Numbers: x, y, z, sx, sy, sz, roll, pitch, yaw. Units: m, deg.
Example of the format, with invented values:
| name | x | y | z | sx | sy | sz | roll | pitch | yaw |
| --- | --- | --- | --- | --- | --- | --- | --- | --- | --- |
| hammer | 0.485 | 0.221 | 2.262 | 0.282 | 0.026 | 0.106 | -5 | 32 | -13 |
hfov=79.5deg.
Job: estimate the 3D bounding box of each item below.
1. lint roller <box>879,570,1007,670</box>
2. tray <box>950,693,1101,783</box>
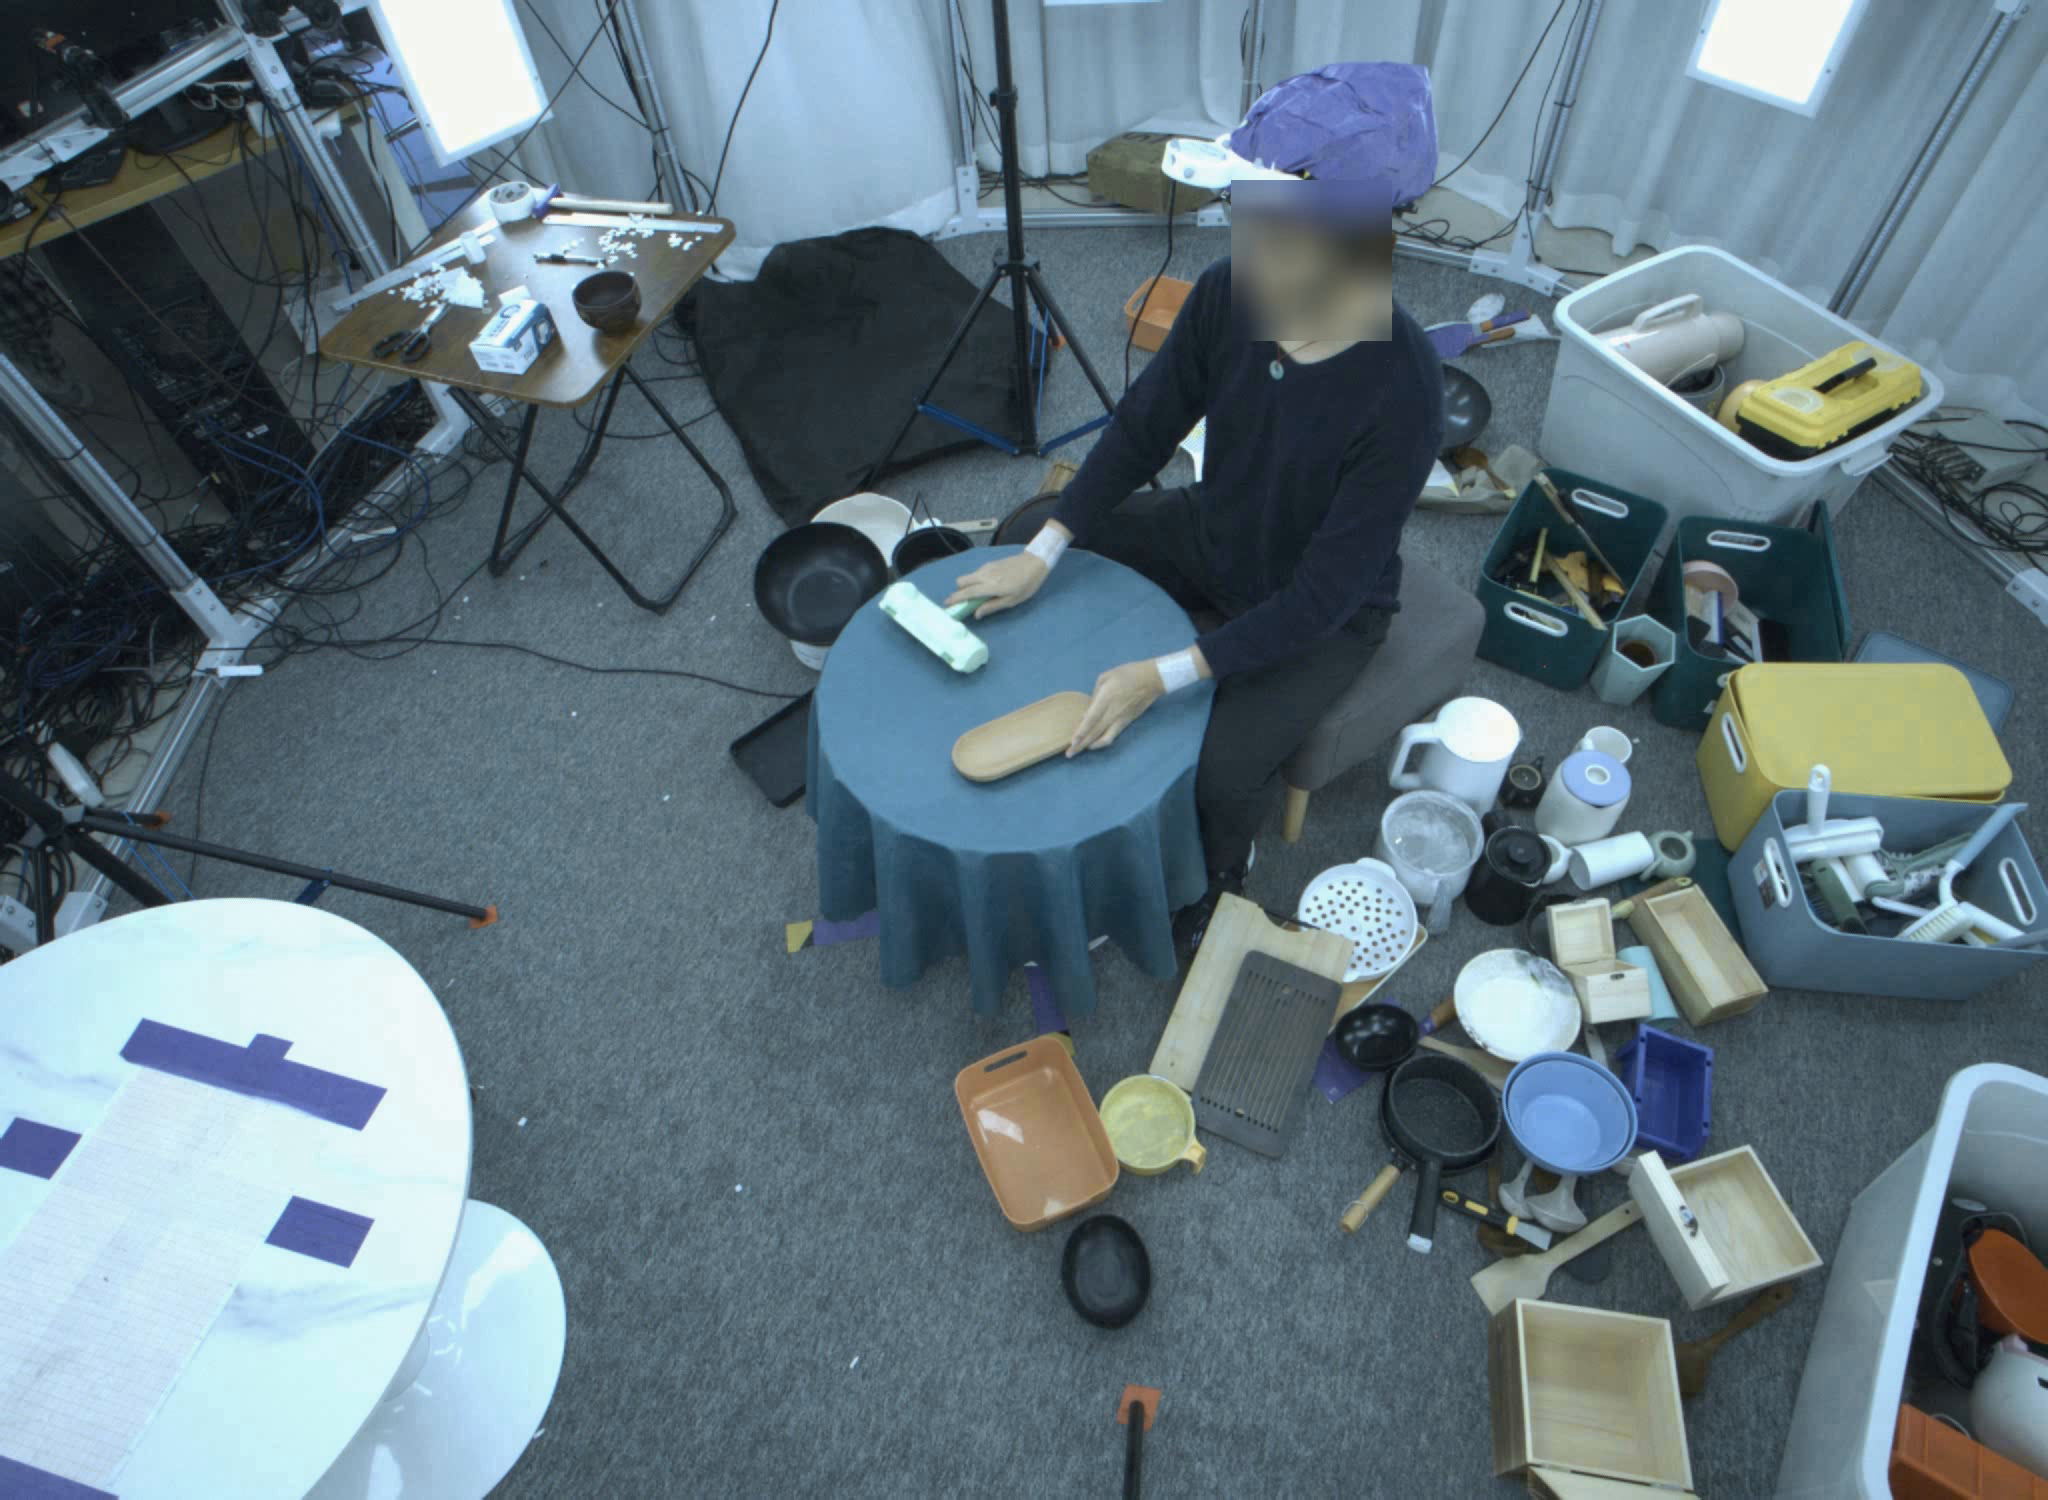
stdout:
| name | x | y | z | sx | sy | sz | roll | pitch | yaw |
| --- | --- | --- | --- | --- | --- | --- | --- | --- | --- |
| lint roller | -0.100 | -0.234 | 1.897 | 0.195 | 0.083 | 0.184 | 39 | 75 | 25 |
| tray | 0.003 | -0.018 | 1.783 | 0.233 | 0.020 | 0.099 | -24 | 47 | -12 |
